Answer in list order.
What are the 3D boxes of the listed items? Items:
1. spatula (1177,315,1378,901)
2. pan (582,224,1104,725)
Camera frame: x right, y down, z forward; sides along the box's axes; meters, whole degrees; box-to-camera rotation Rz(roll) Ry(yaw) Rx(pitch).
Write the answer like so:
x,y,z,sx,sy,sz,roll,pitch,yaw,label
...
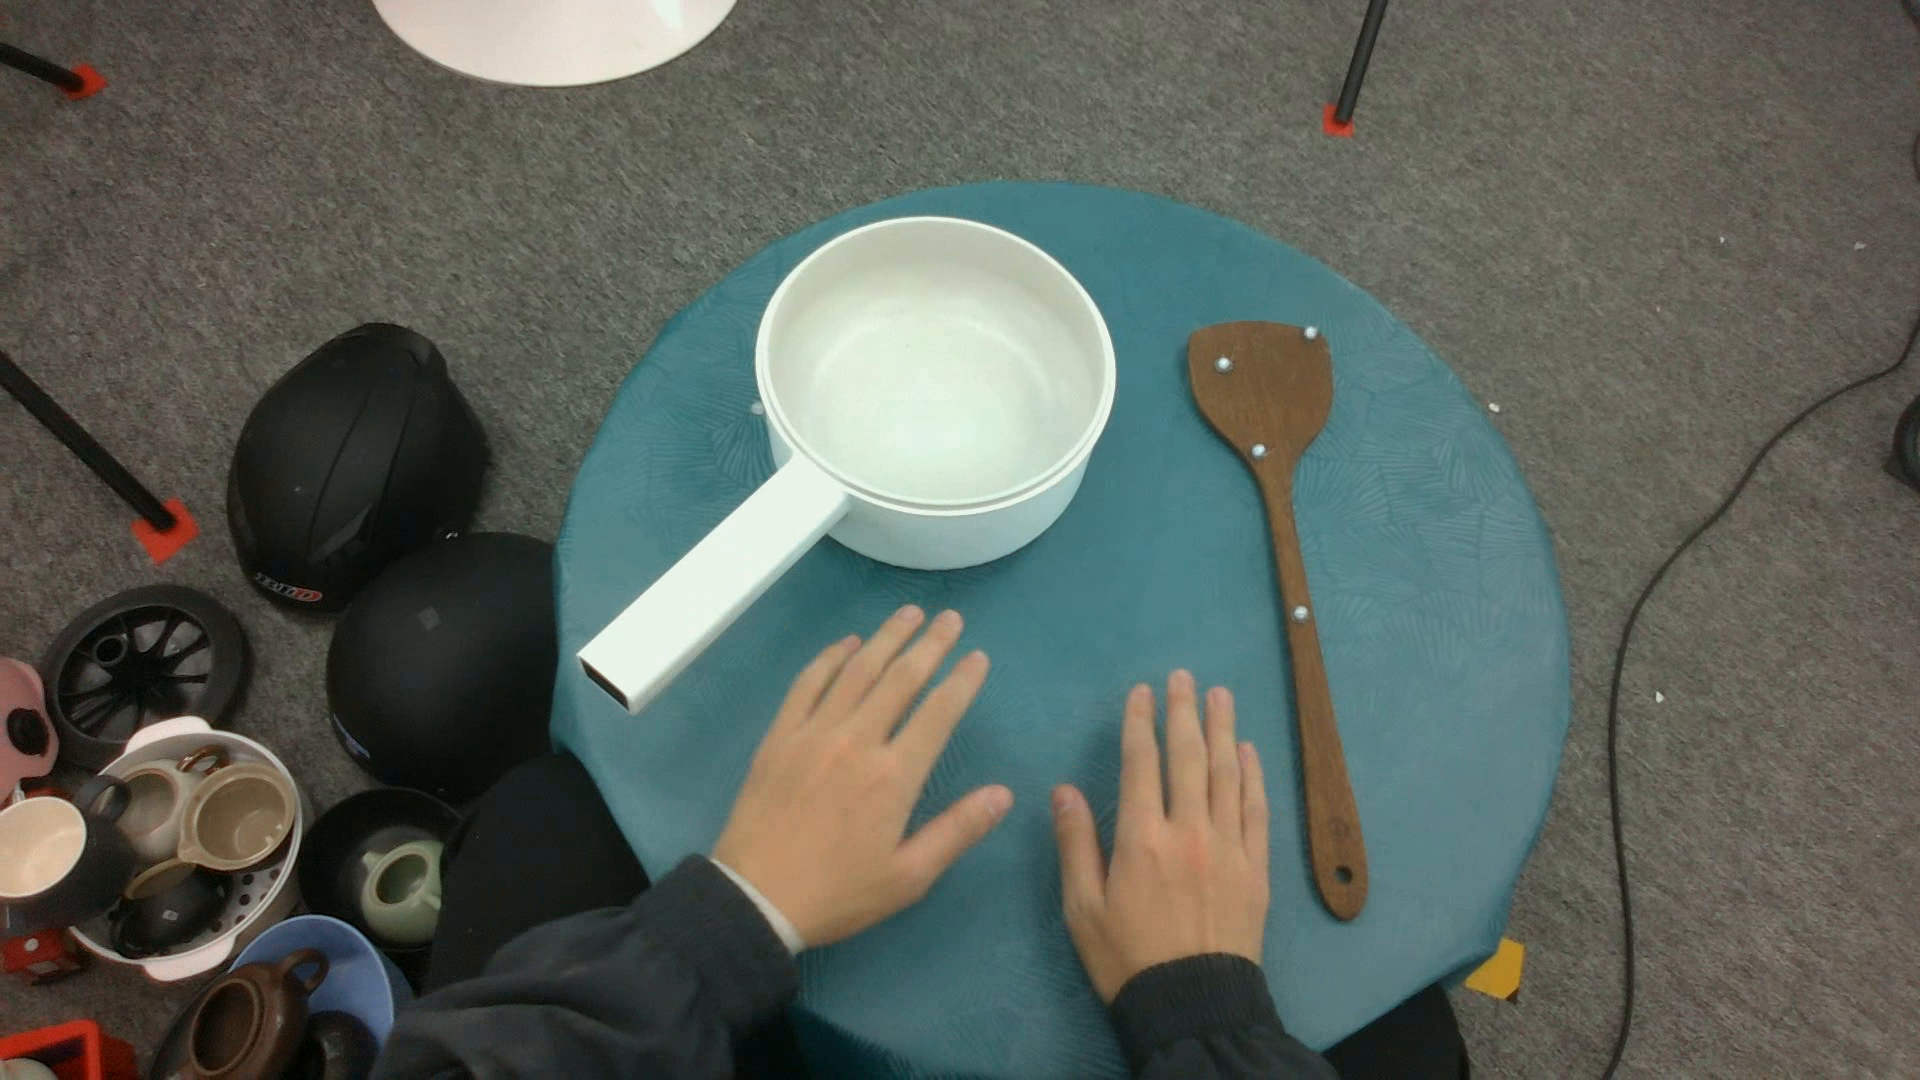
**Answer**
x,y,z,sx,sy,sz,roll,pitch,yaw,label
0.200,0.021,0.827,0.096,0.016,0.387,-2,62,-4,spatula
-0.067,-0.026,0.789,0.201,0.101,0.356,36,66,14,pan
